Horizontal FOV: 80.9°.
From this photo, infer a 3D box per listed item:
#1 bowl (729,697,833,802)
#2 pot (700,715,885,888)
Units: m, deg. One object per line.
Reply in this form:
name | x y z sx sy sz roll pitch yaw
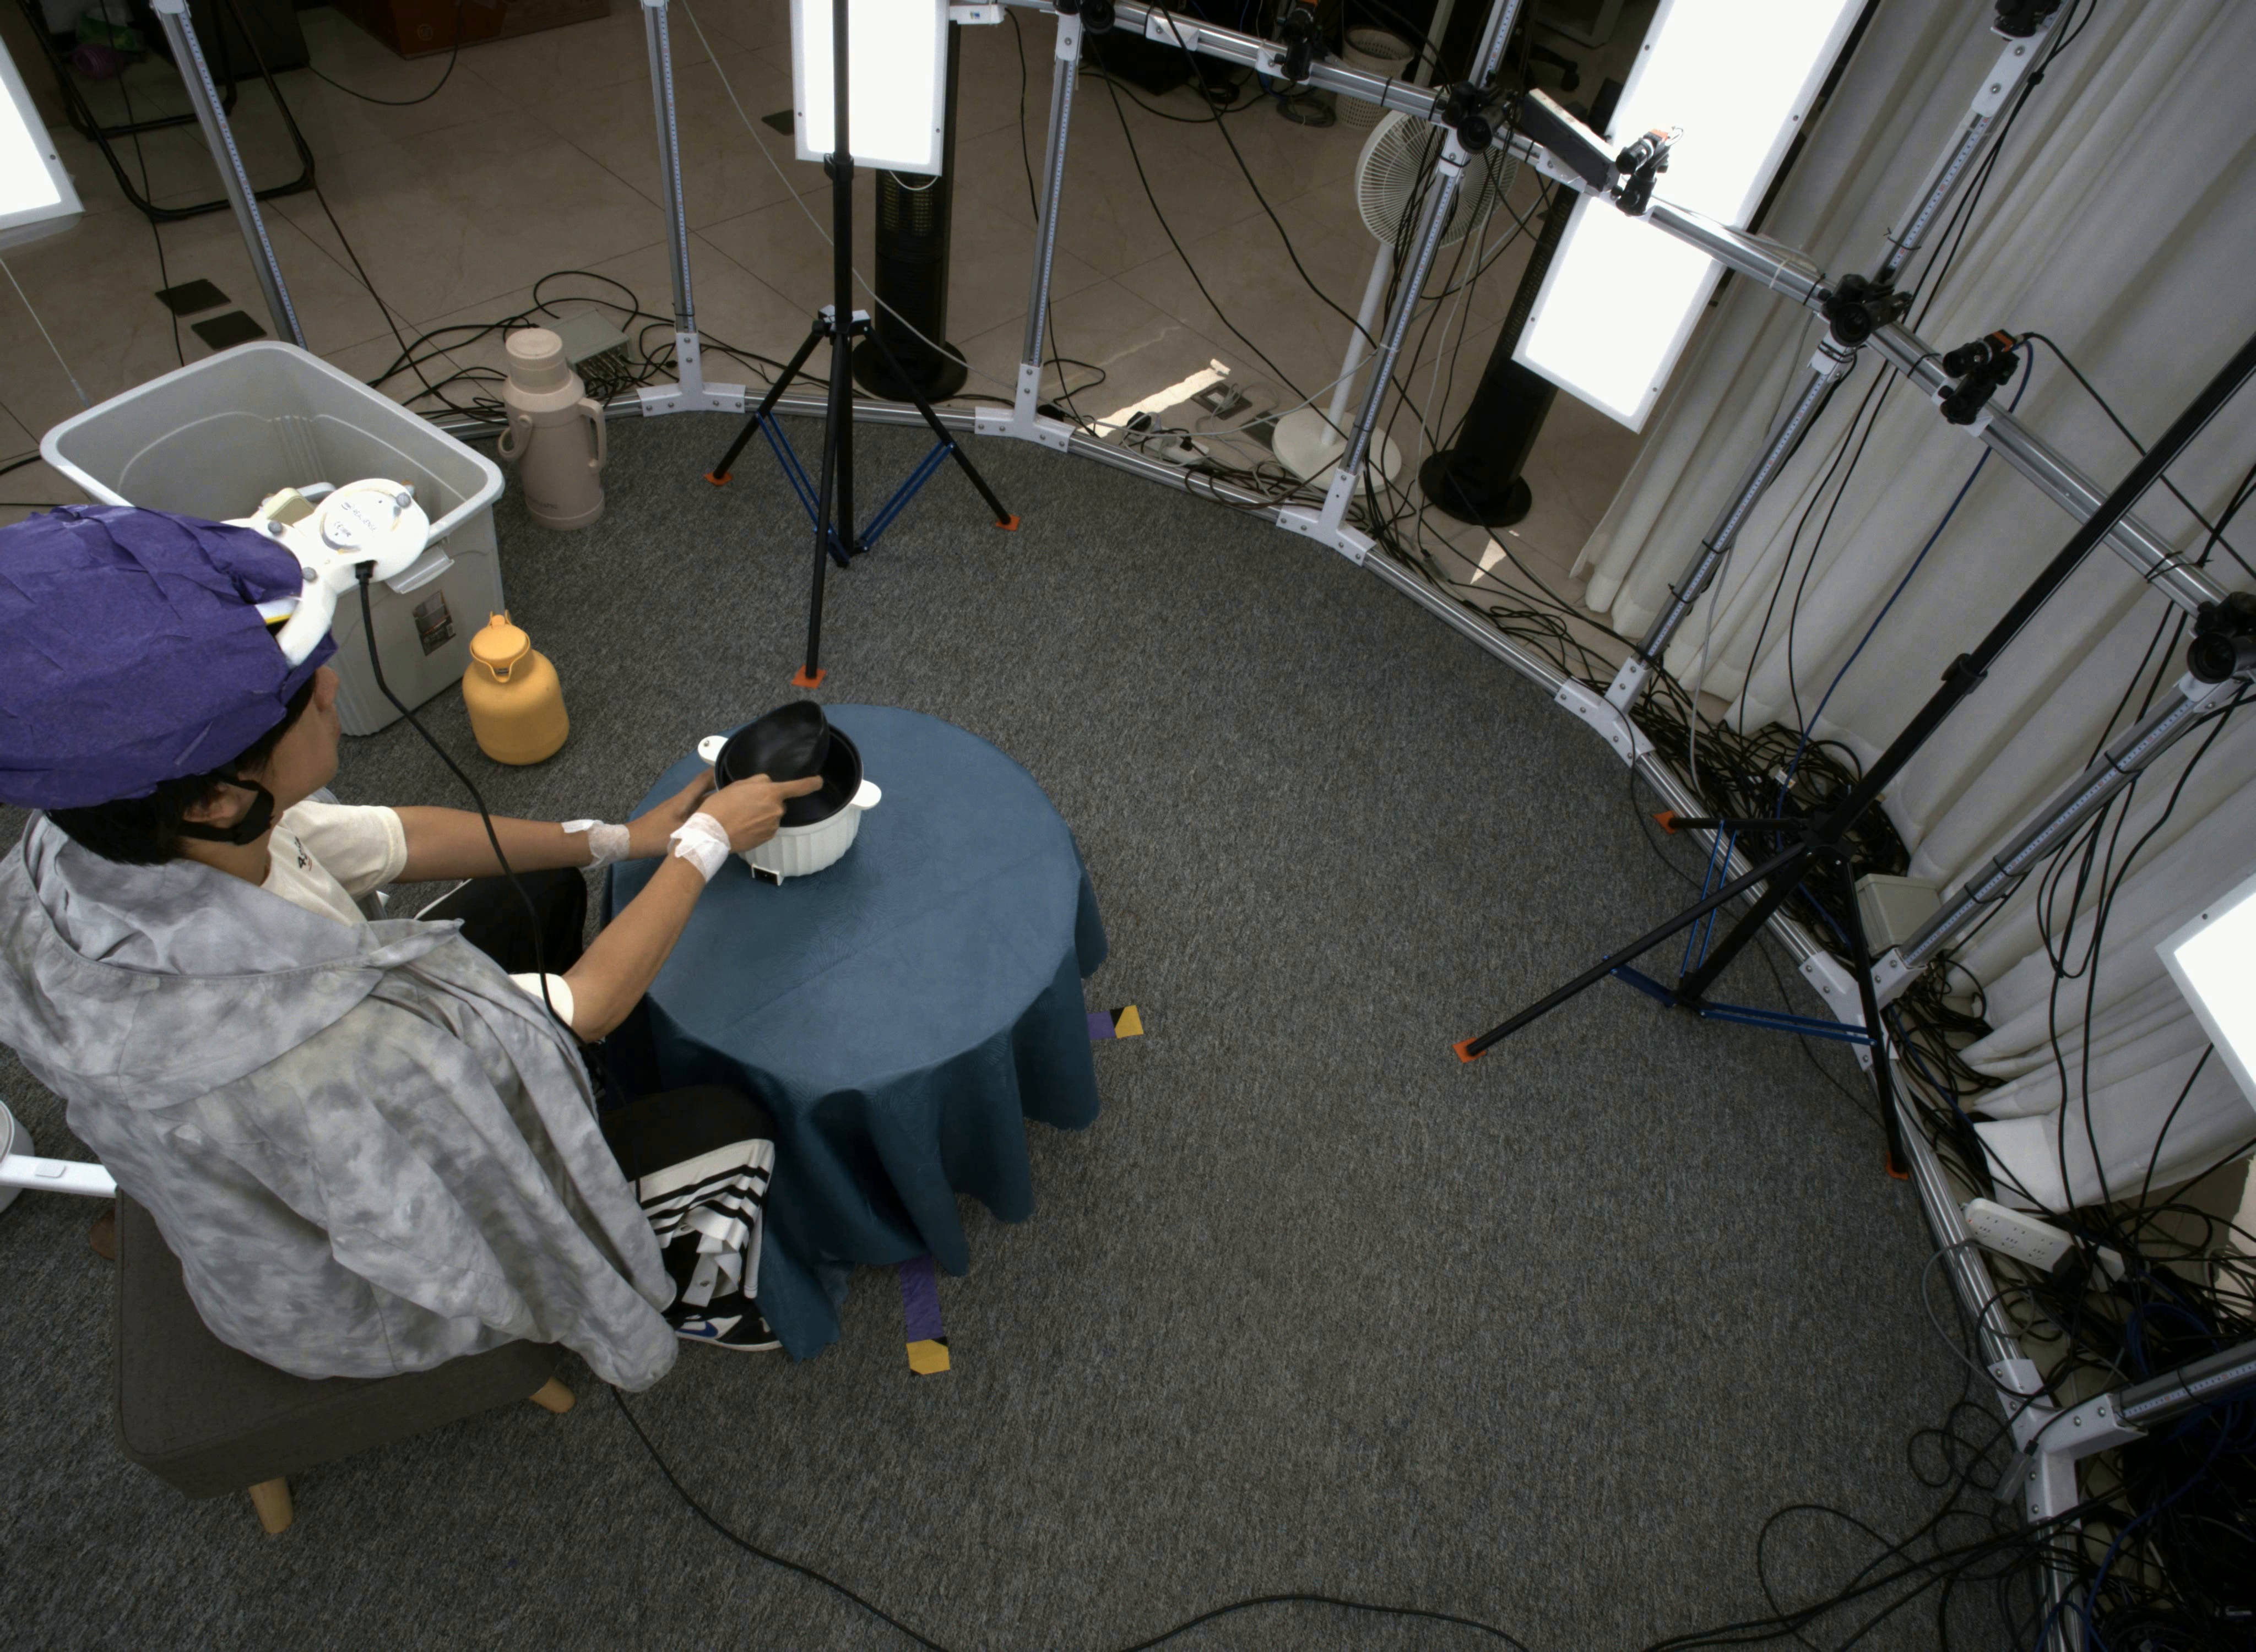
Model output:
bowl | -0.411 -0.083 1.582 0.136 0.069 0.165 -28 38 4
pot | -0.426 -0.036 1.663 0.238 0.145 0.188 17 55 -1
